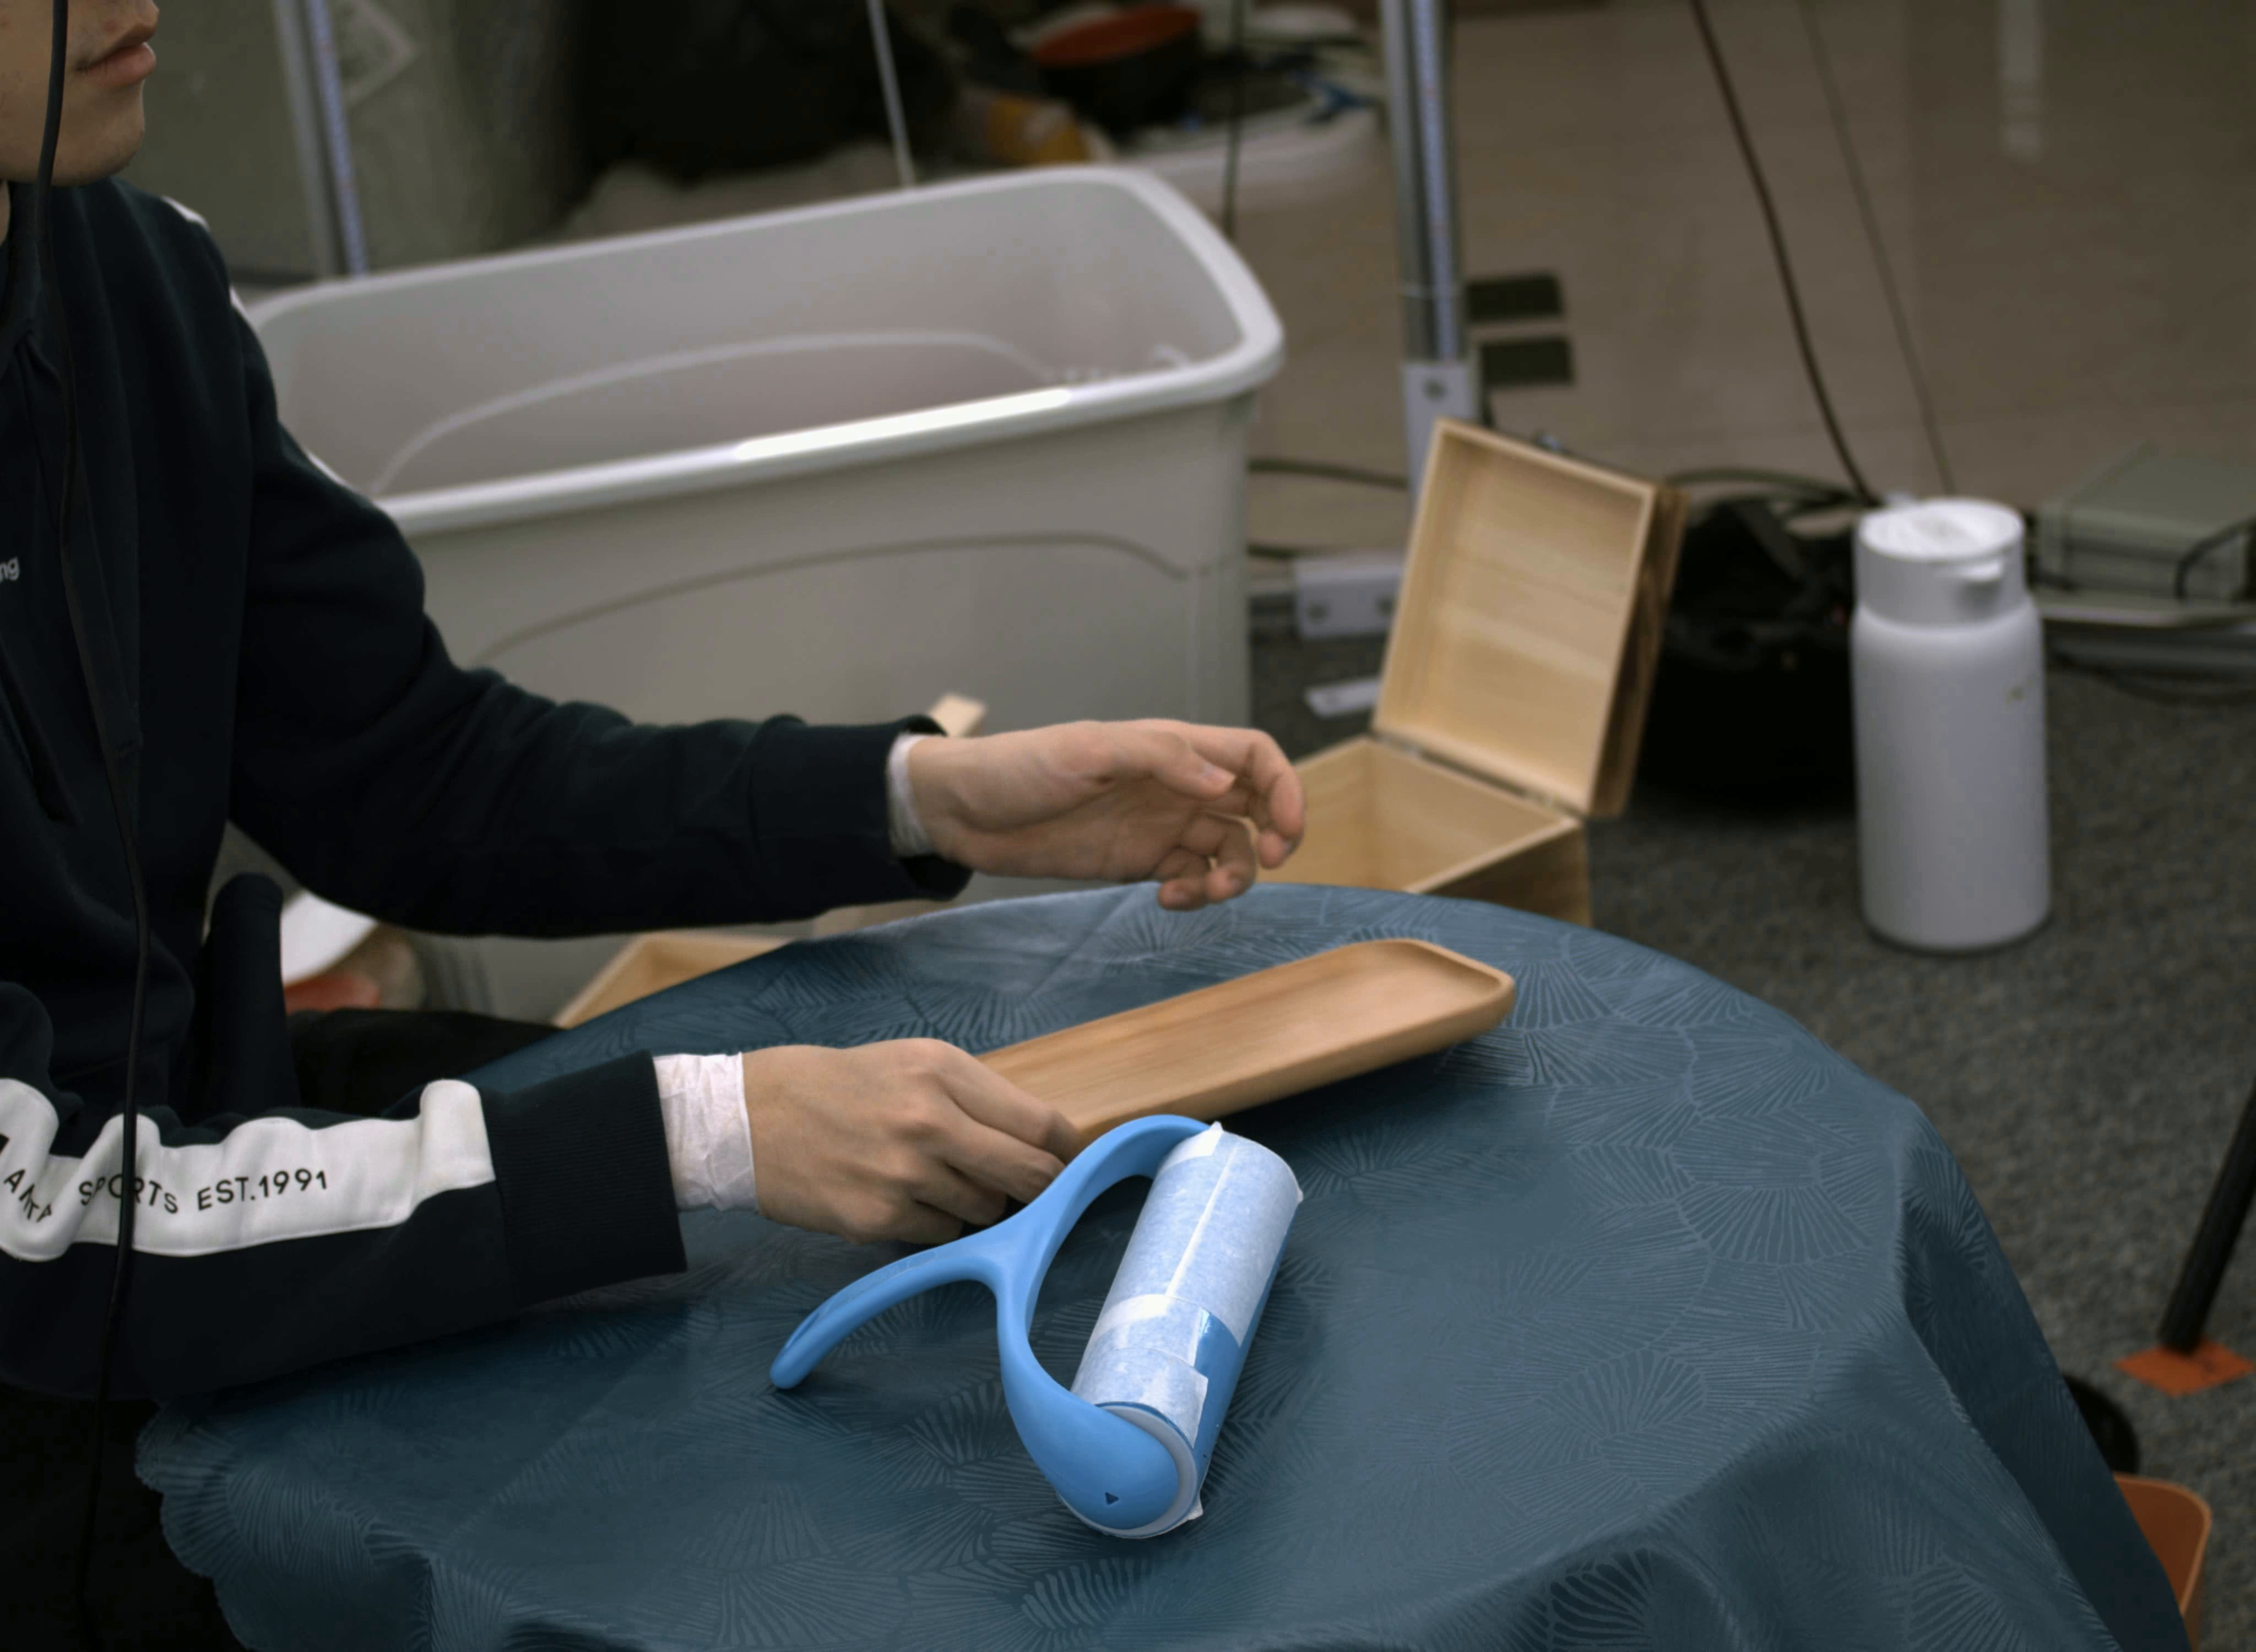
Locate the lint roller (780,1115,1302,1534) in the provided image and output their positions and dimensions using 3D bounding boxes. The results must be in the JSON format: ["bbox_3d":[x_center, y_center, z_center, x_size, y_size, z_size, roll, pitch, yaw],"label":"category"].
[{"bbox_3d":[-0.040,0.175,2.007,0.180,0.069,0.225,-1,27,10],"label":"lint roller"}]

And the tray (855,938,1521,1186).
[{"bbox_3d":[0.024,0.091,2.198,0.250,0.023,0.130,-16,13,-17],"label":"tray"}]
